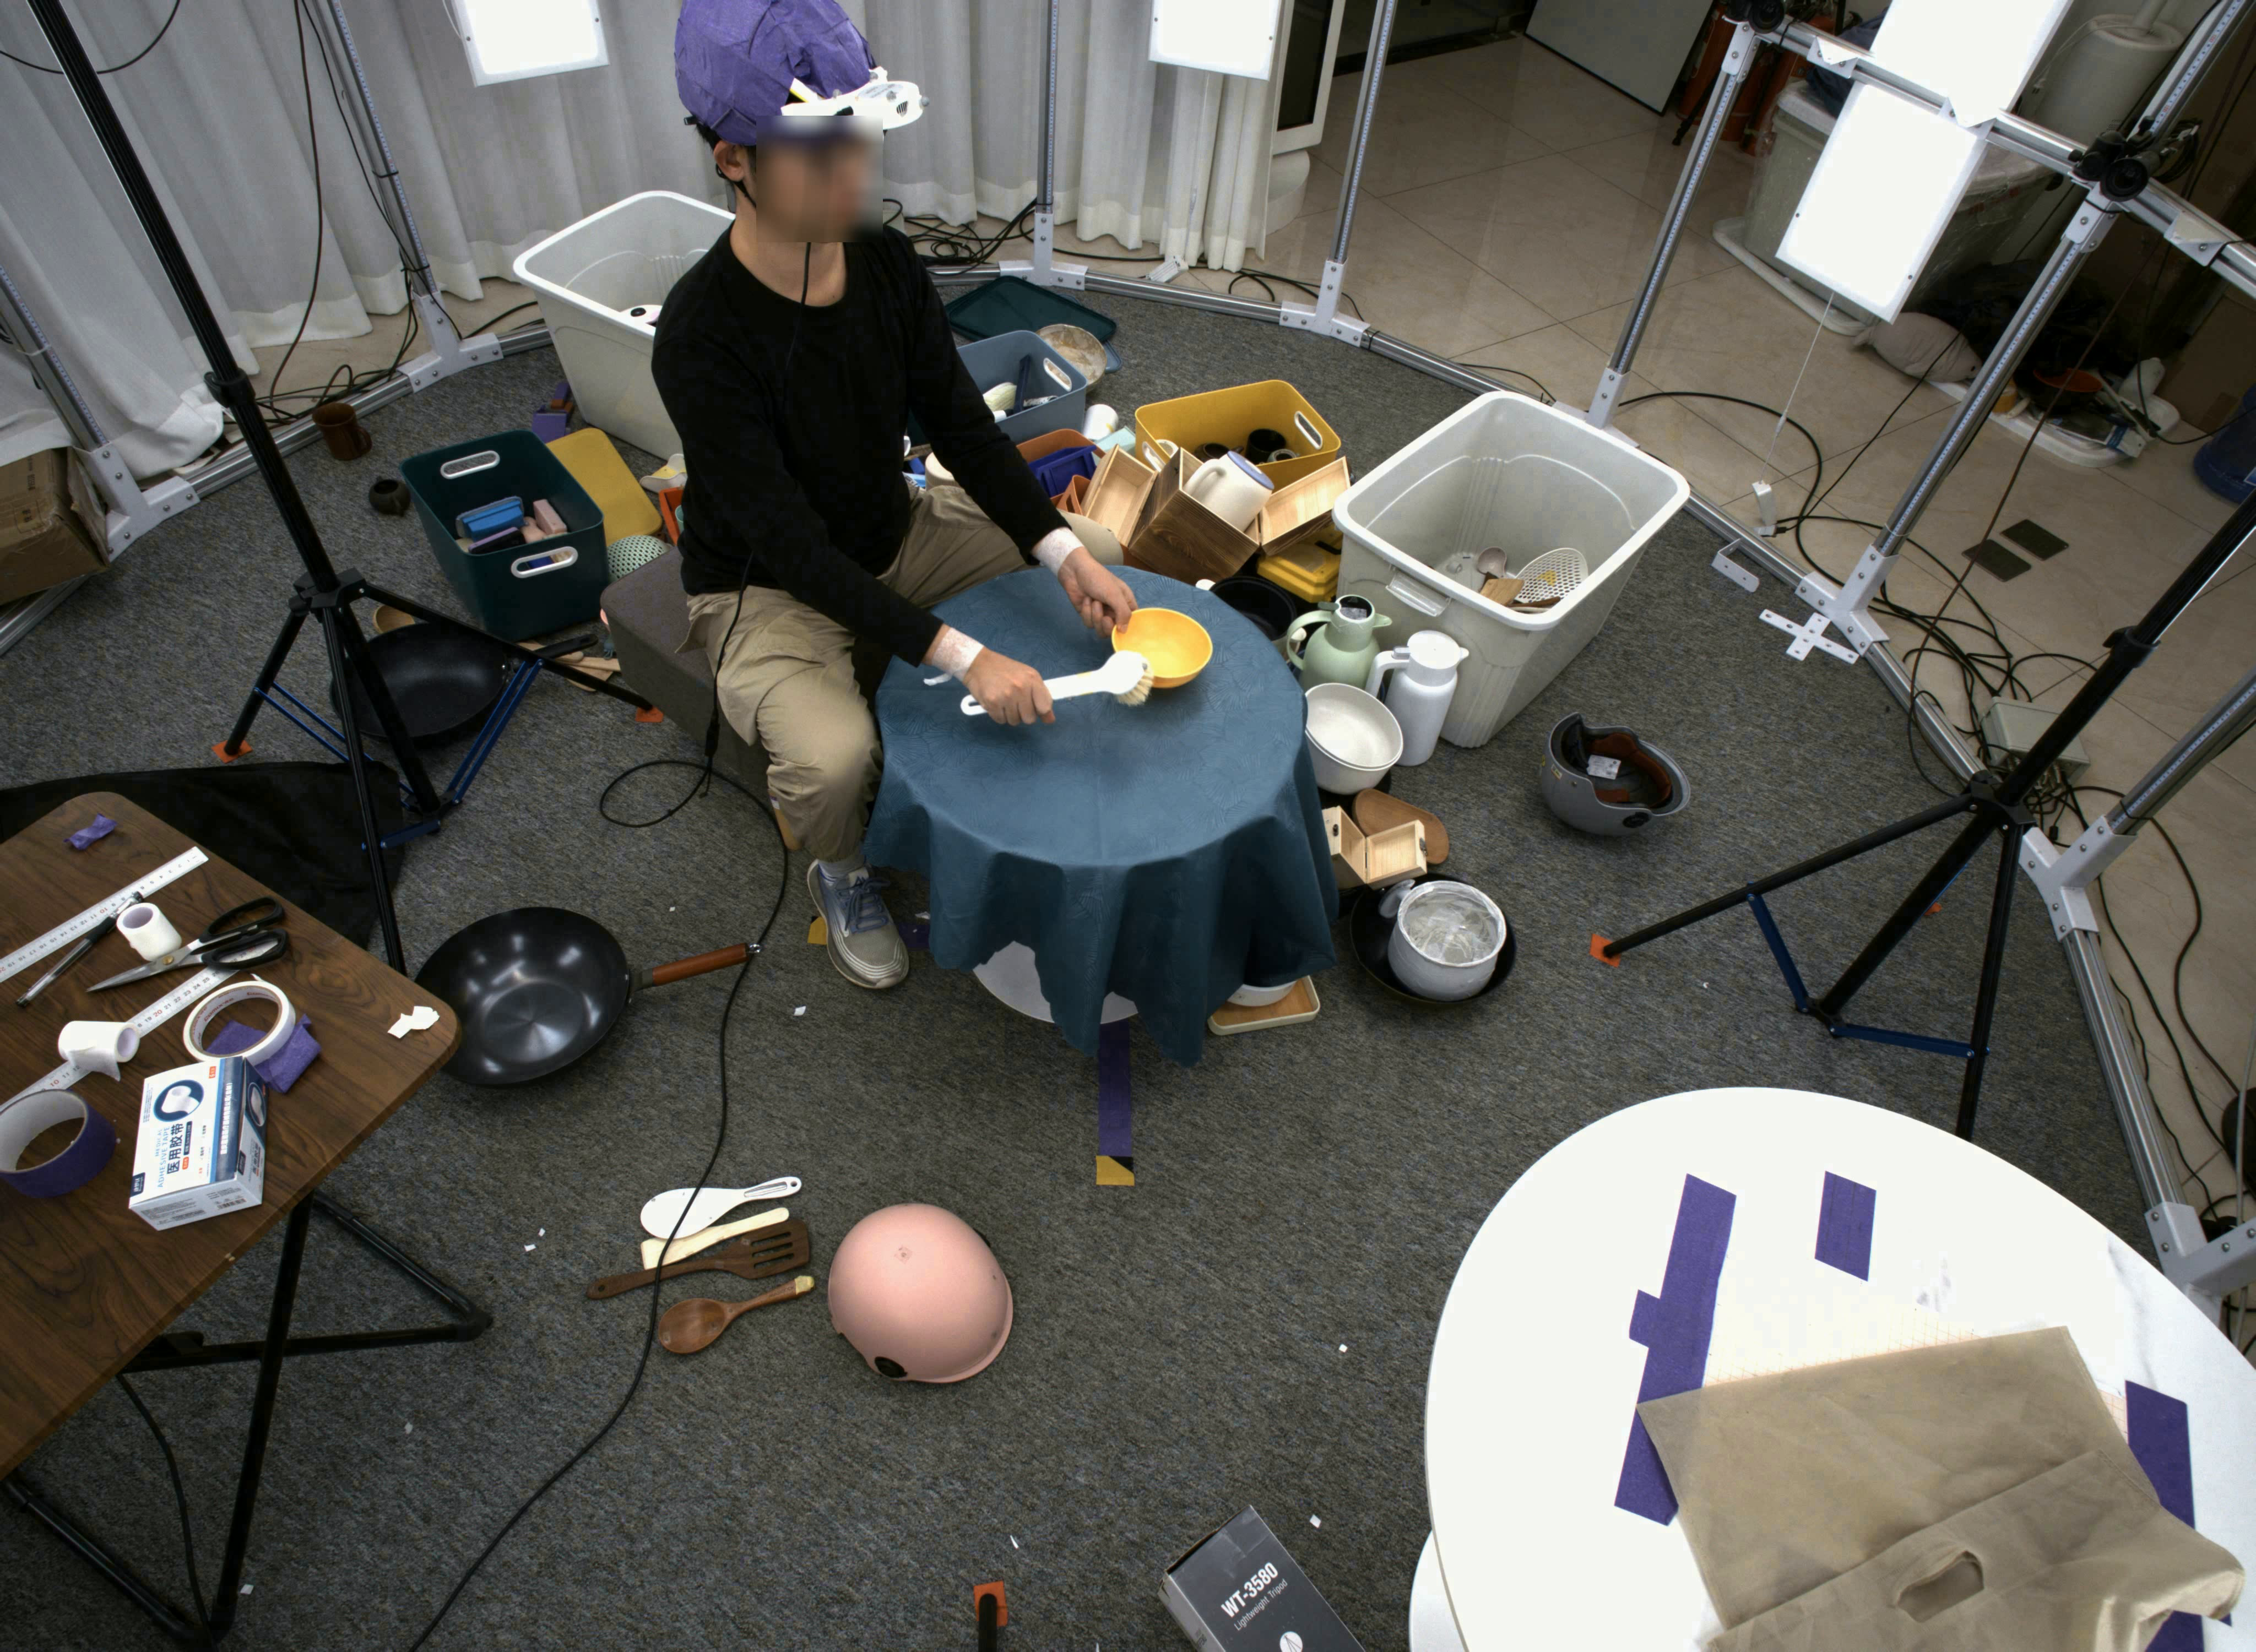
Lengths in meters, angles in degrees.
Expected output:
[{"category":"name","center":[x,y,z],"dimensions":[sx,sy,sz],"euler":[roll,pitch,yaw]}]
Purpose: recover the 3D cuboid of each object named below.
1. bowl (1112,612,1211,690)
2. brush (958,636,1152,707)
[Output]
[{"category":"bowl","center":[0.045,-0.240,1.842],"dimensions":[0.145,0.058,0.149],"euler":[4,47,-4]},{"category":"brush","center":[-0.097,-0.198,1.751],"dimensions":[0.266,0.055,0.070],"euler":[-17,58,1]}]
